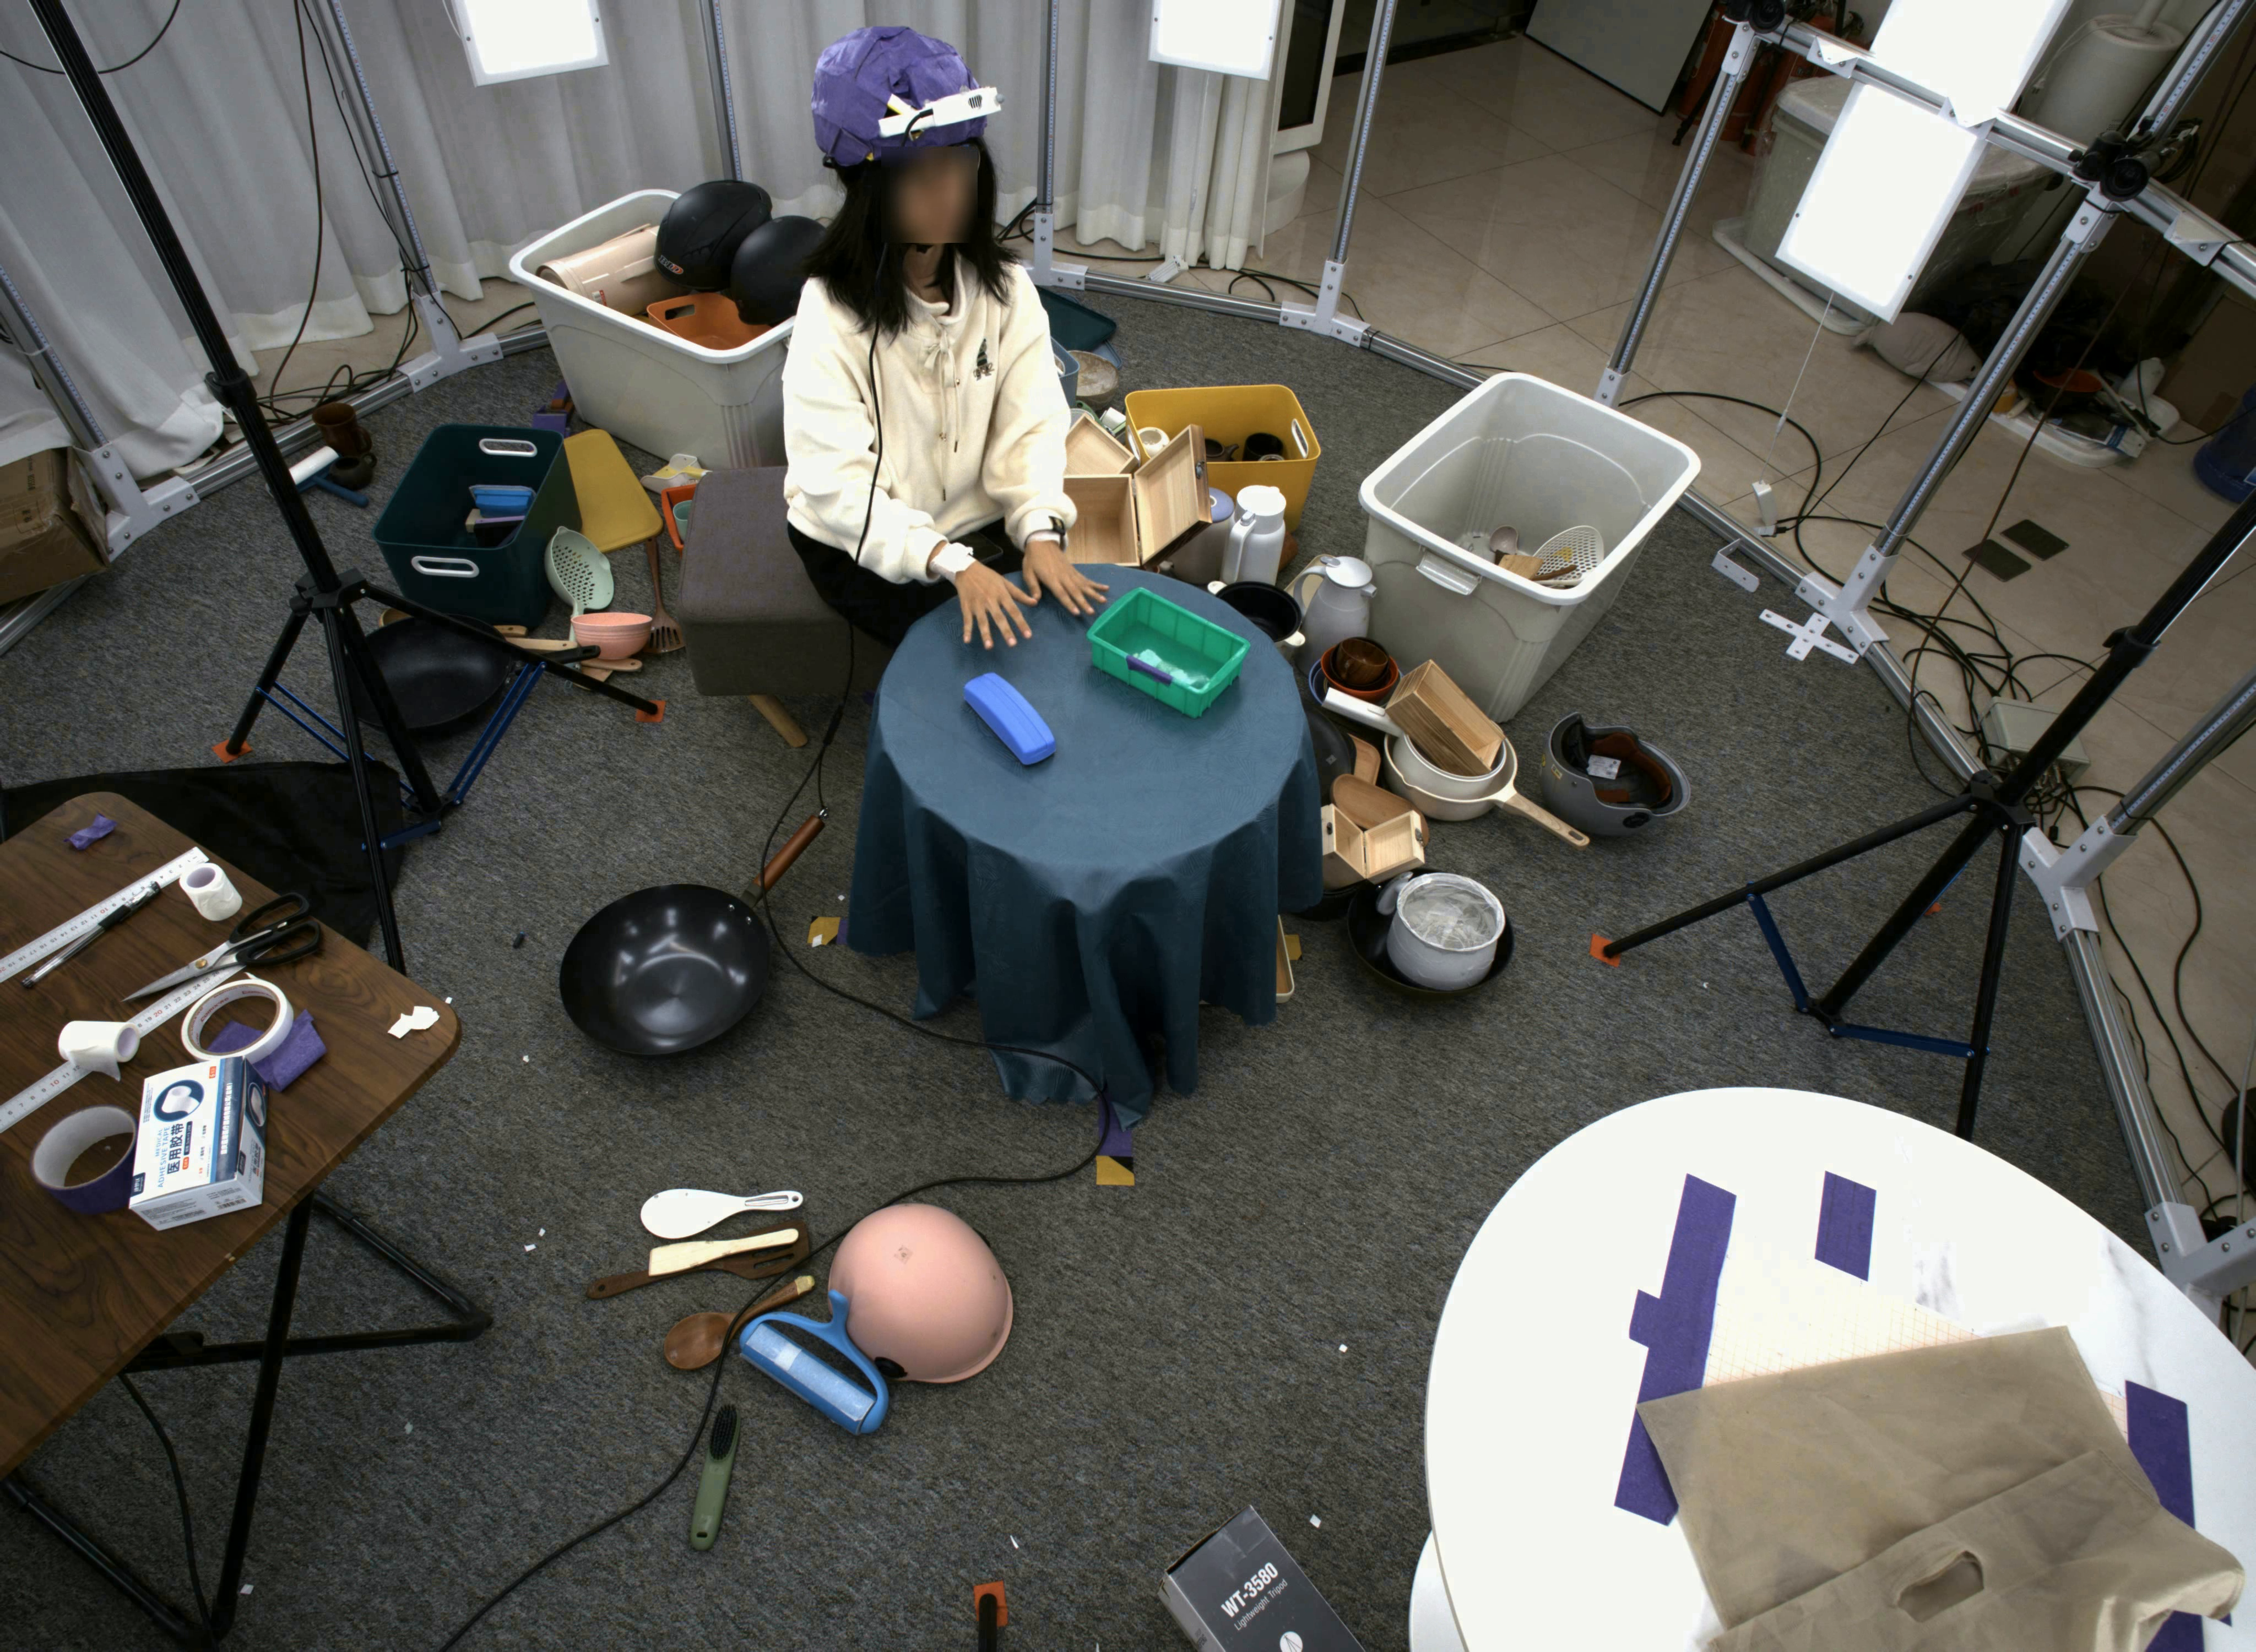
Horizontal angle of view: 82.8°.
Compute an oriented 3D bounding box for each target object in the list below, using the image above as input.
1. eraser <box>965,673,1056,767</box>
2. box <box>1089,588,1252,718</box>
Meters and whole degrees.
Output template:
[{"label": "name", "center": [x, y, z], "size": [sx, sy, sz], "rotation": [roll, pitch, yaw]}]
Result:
[{"label": "eraser", "center": [-0.162, -0.152, 1.761], "size": [0.054, 0.046, 0.165], "rotation": [-27, 56, -25]}, {"label": "box", "center": [0.060, -0.247, 1.849], "size": [0.212, 0.064, 0.140], "rotation": [29, 55, 19]}]
